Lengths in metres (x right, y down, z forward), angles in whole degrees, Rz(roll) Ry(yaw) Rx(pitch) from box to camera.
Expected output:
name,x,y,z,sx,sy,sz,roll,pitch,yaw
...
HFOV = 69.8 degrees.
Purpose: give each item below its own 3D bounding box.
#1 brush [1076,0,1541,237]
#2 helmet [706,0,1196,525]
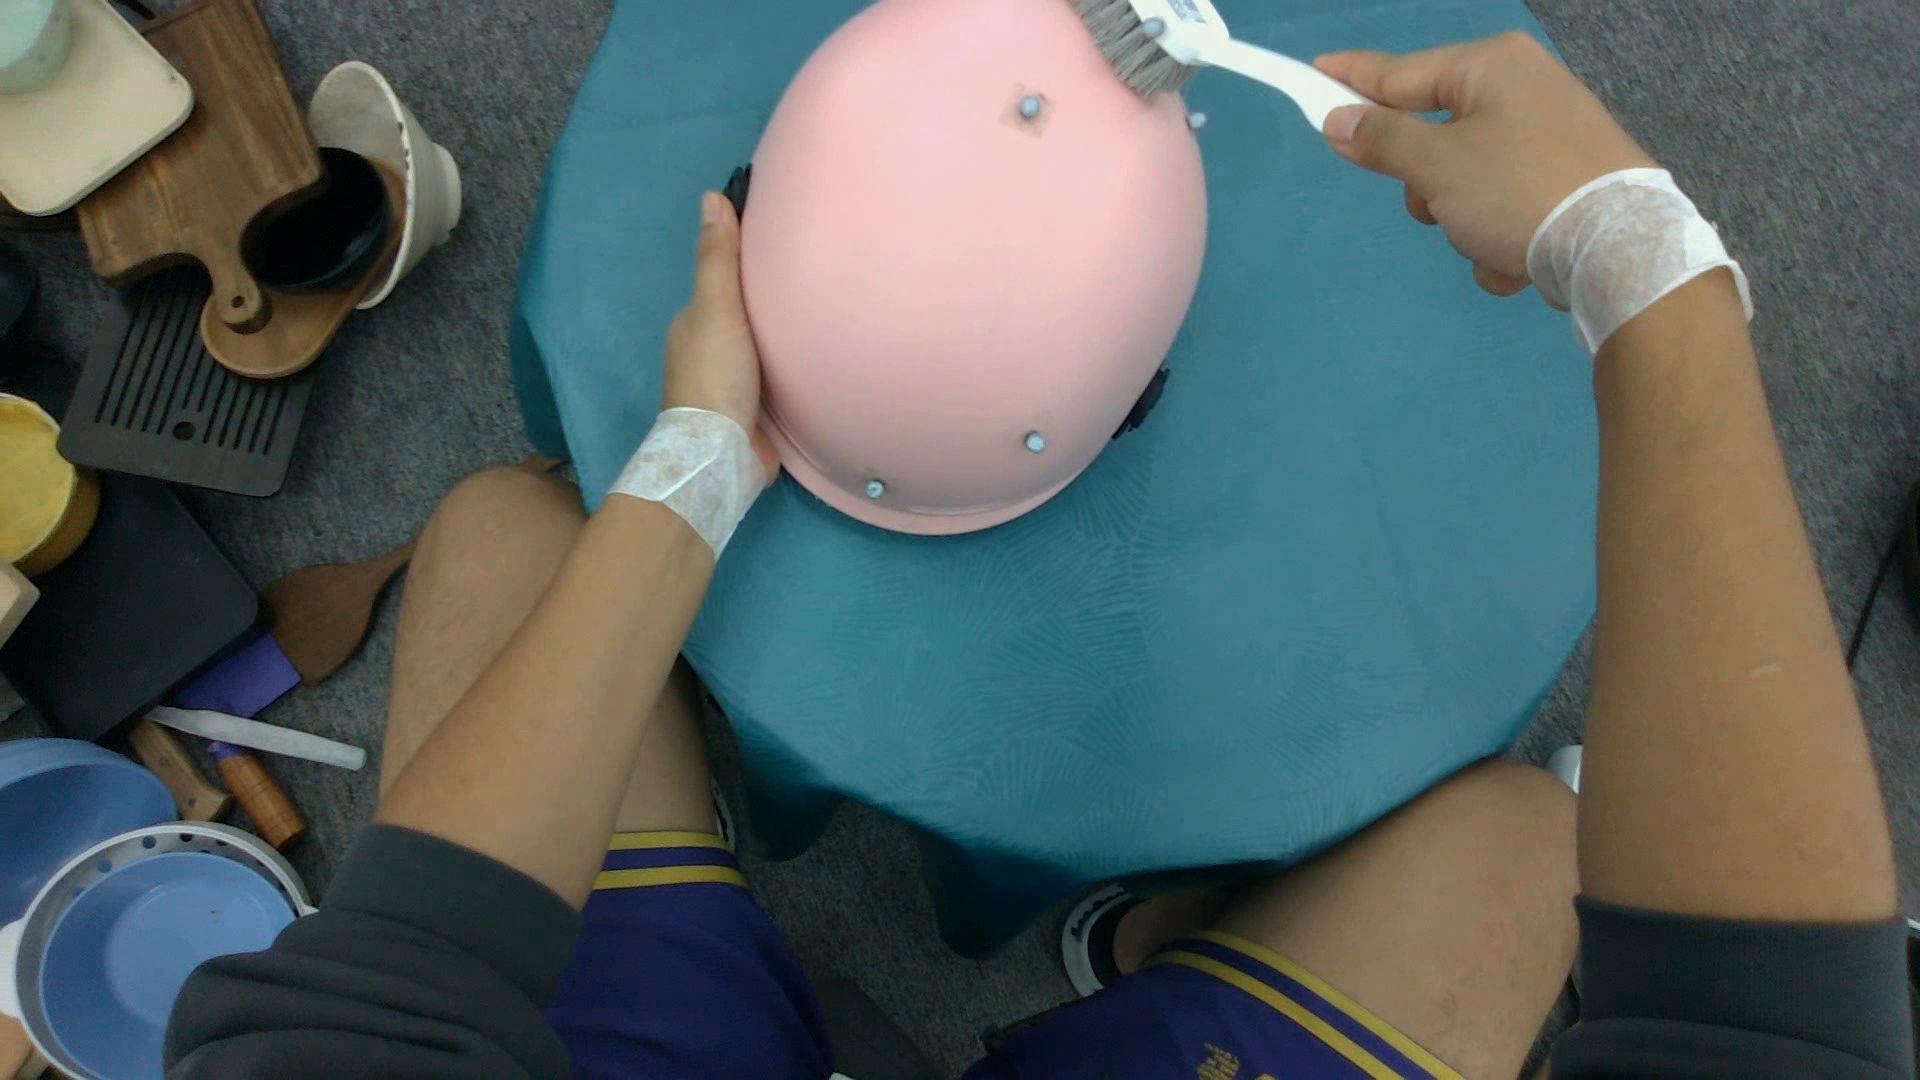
name,x,y,z,sx,sy,sz,roll,pitch,yaw
brush,0.121,-0.174,0.538,0.034,0.050,0.244,-13,52,-38
helmet,0.004,-0.143,0.633,0.234,0.158,0.266,23,81,-9
